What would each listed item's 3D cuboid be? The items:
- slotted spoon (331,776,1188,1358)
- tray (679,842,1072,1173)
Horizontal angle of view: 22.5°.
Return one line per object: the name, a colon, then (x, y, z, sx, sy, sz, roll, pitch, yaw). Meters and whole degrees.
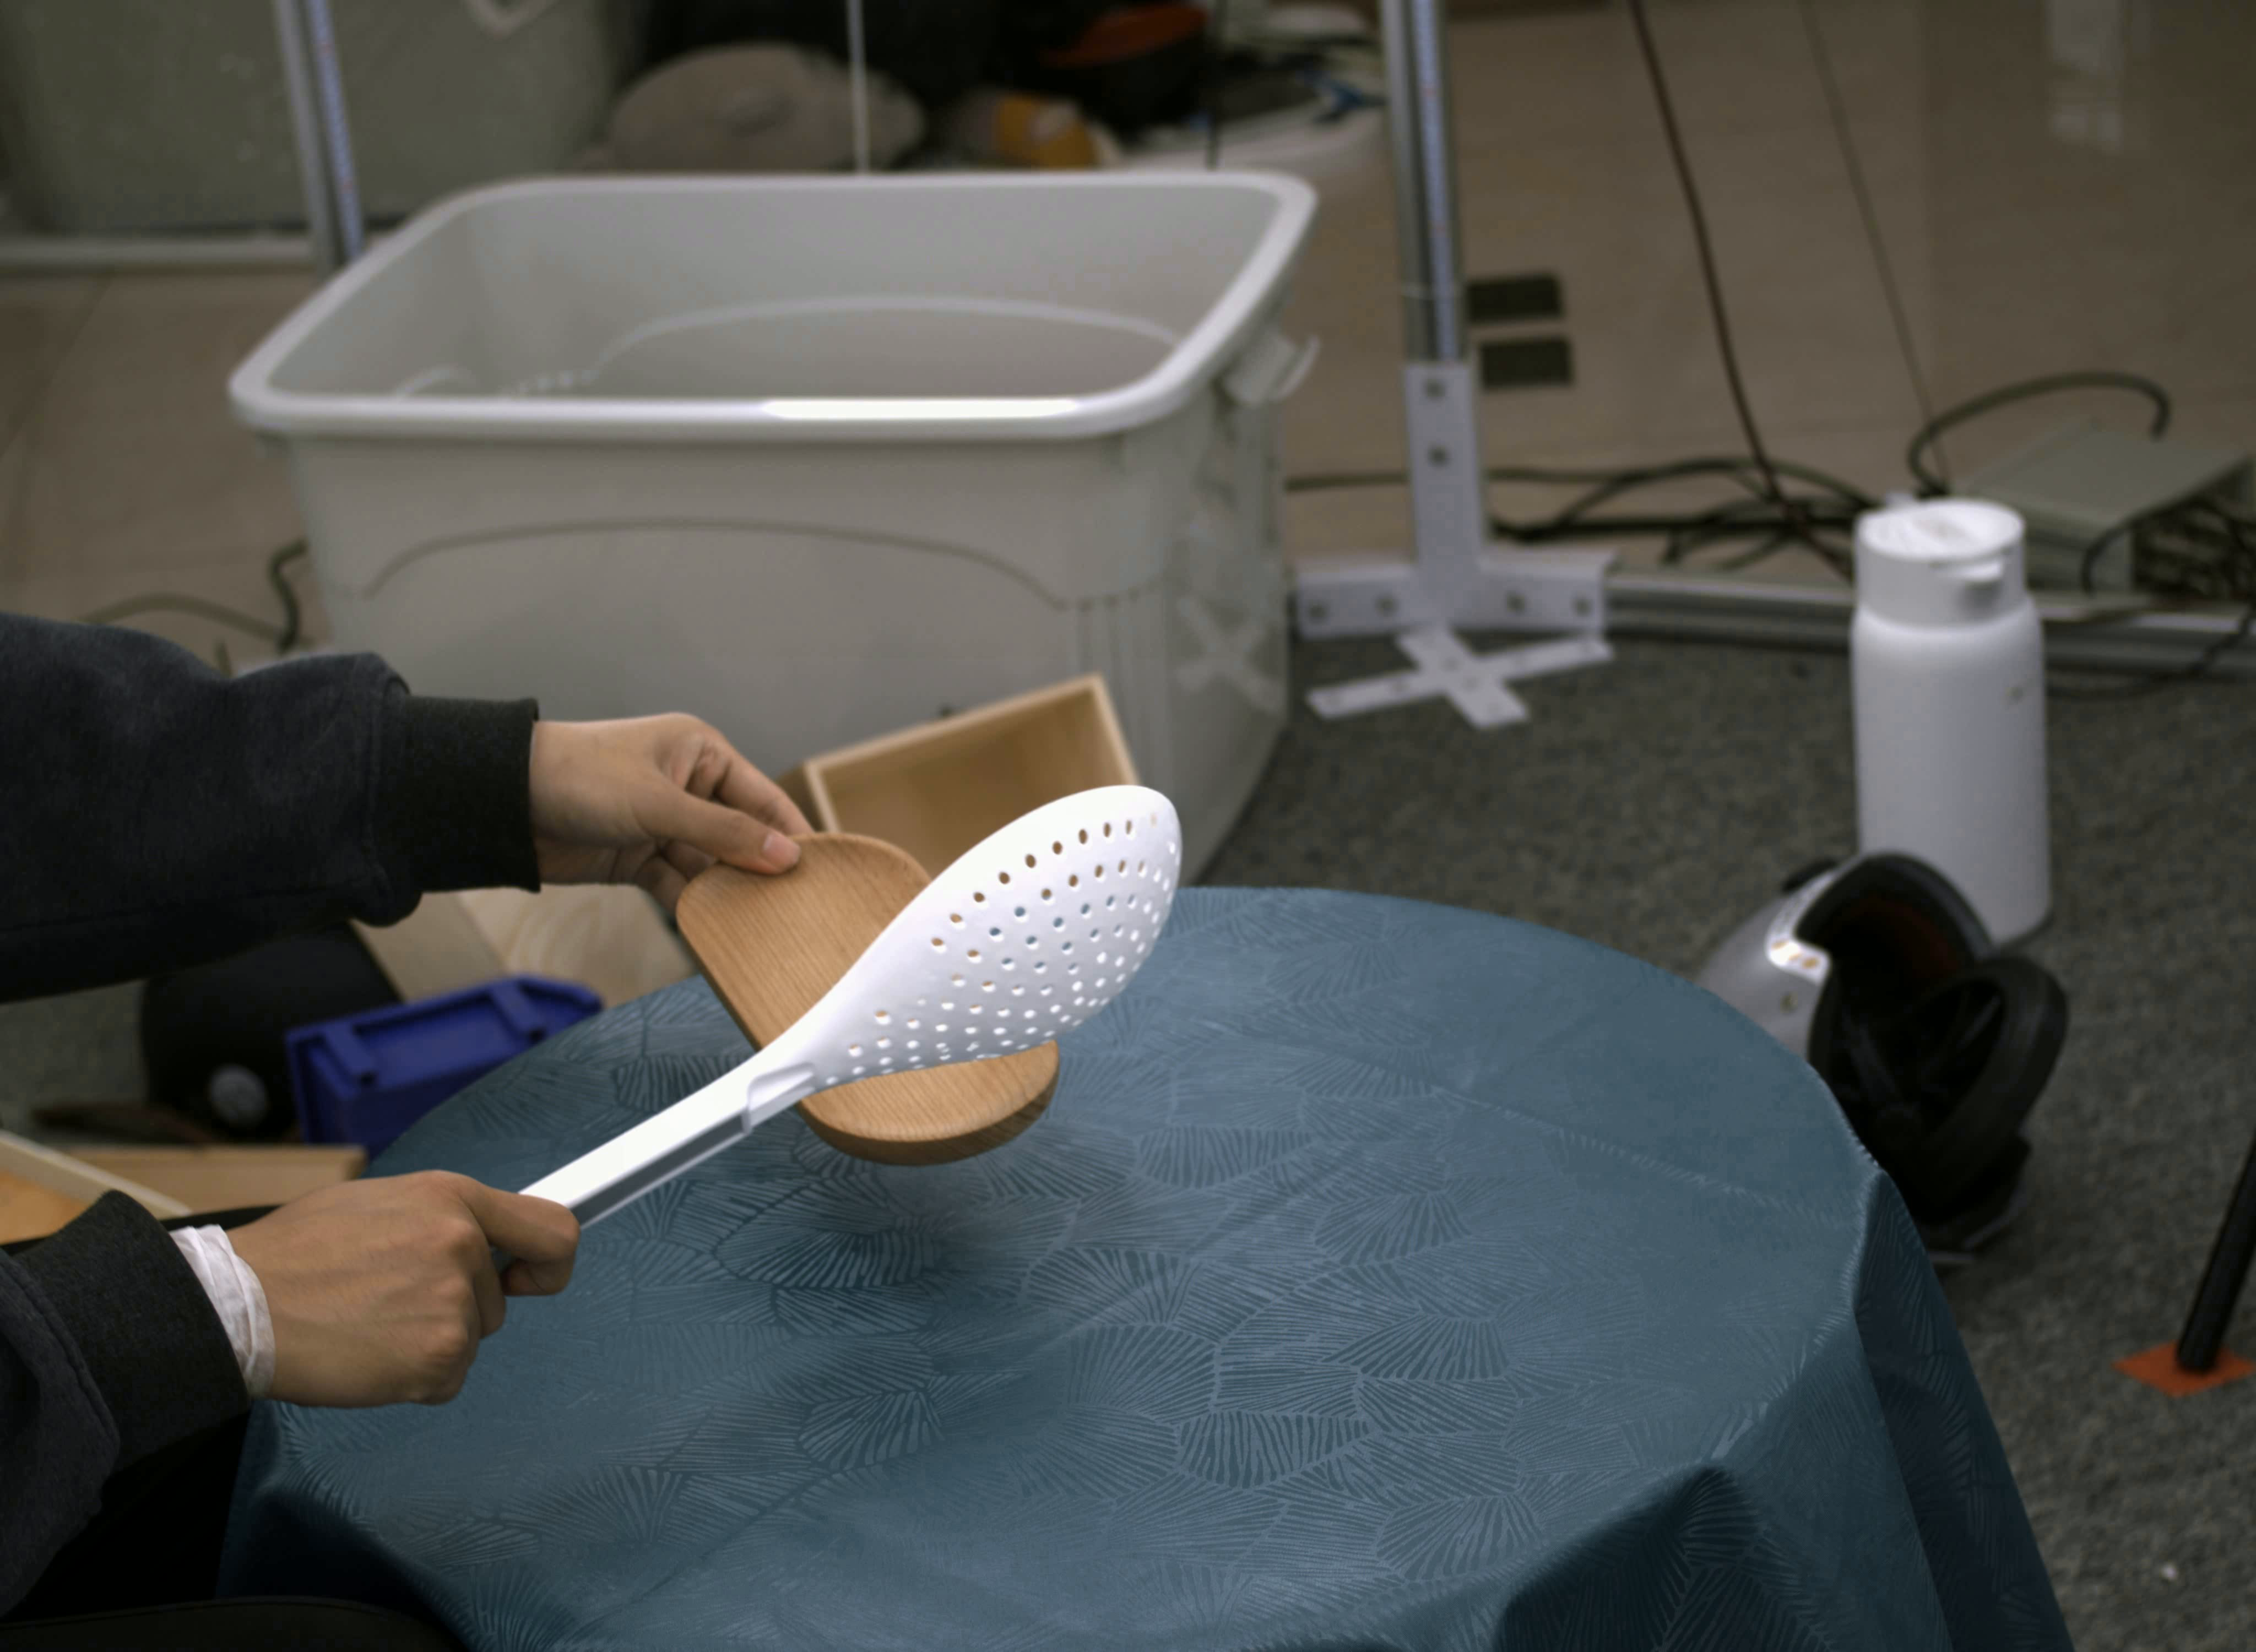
slotted spoon: (-0.123, 0.089, 1.978, 0.348, 0.138, 0.045, -26, 61, -11)
tray: (-0.098, 0.067, 2.167, 0.101, 0.021, 0.228, -18, 36, -18)
